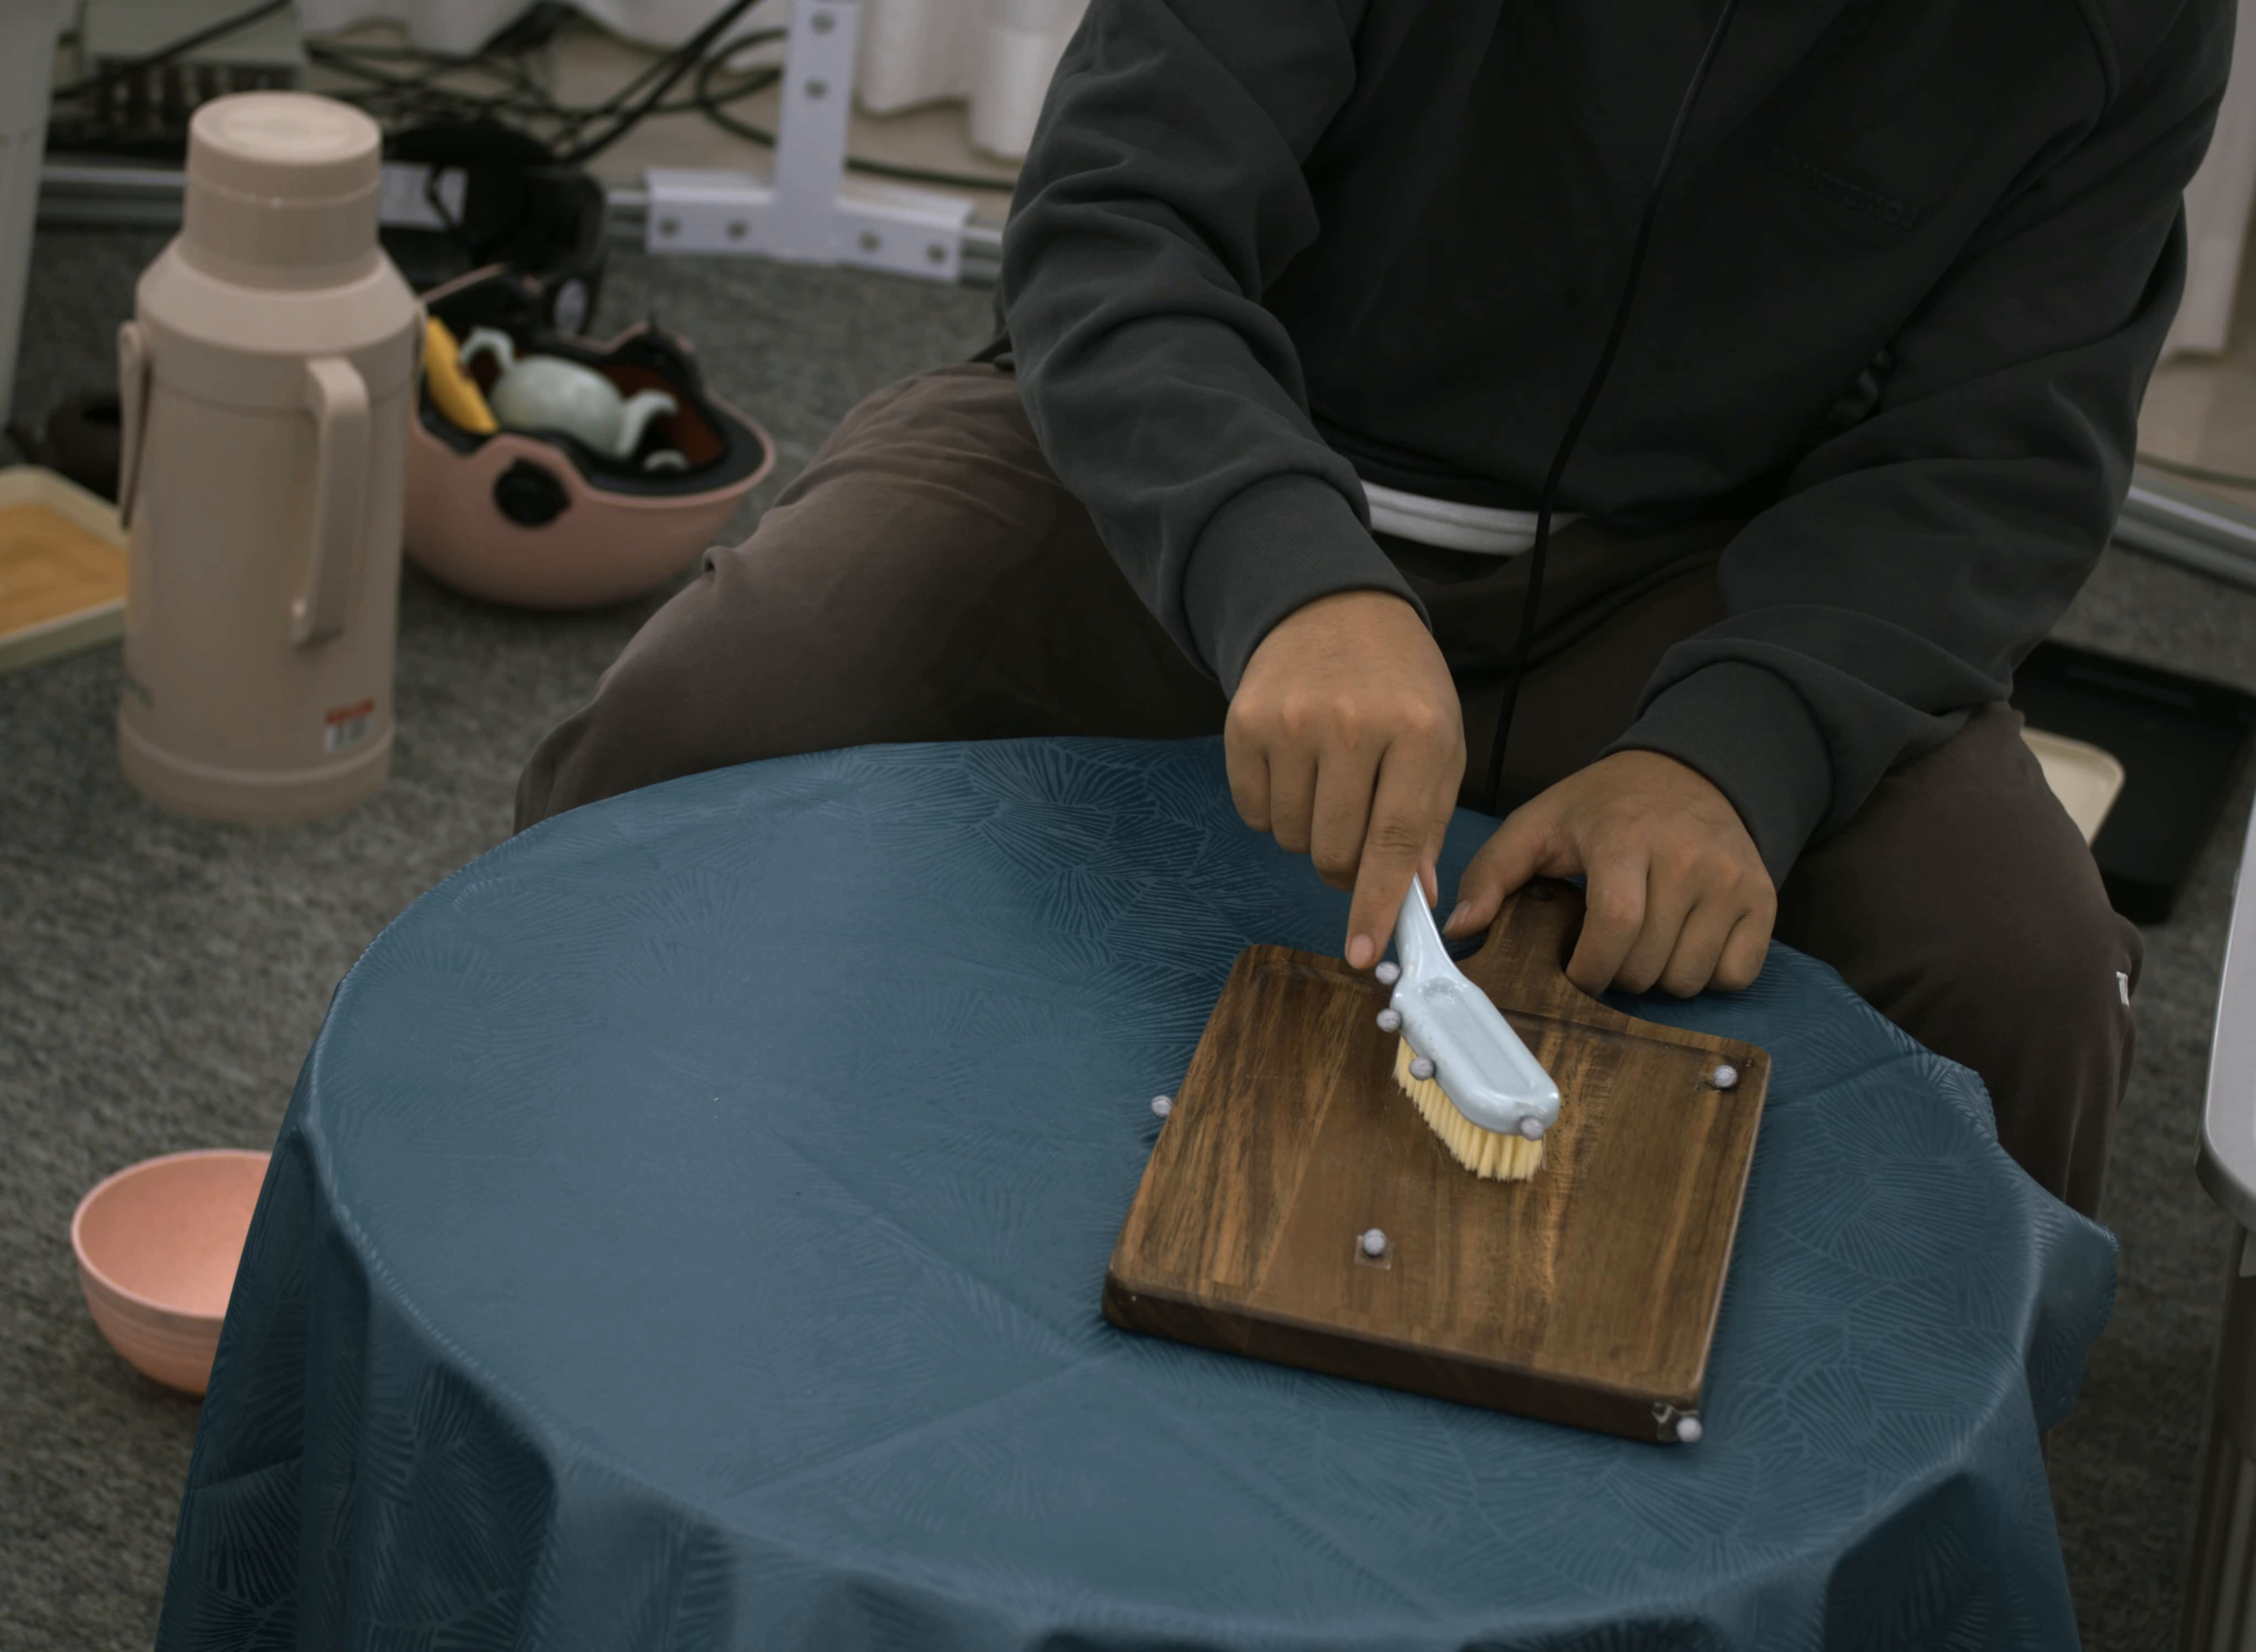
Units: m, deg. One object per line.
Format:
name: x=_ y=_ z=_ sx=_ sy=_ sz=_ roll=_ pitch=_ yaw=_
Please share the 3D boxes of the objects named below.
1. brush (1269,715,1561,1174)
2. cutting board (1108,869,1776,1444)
brush: x=0.095 y=0.038 z=1.885 sx=0.037 sy=0.049 sz=0.231 roll=-5 pitch=43 yaw=-22
cutting board: x=0.123 y=0.099 z=1.860 sx=0.201 sy=0.023 sz=0.353 roll=11 pitch=27 yaw=8
